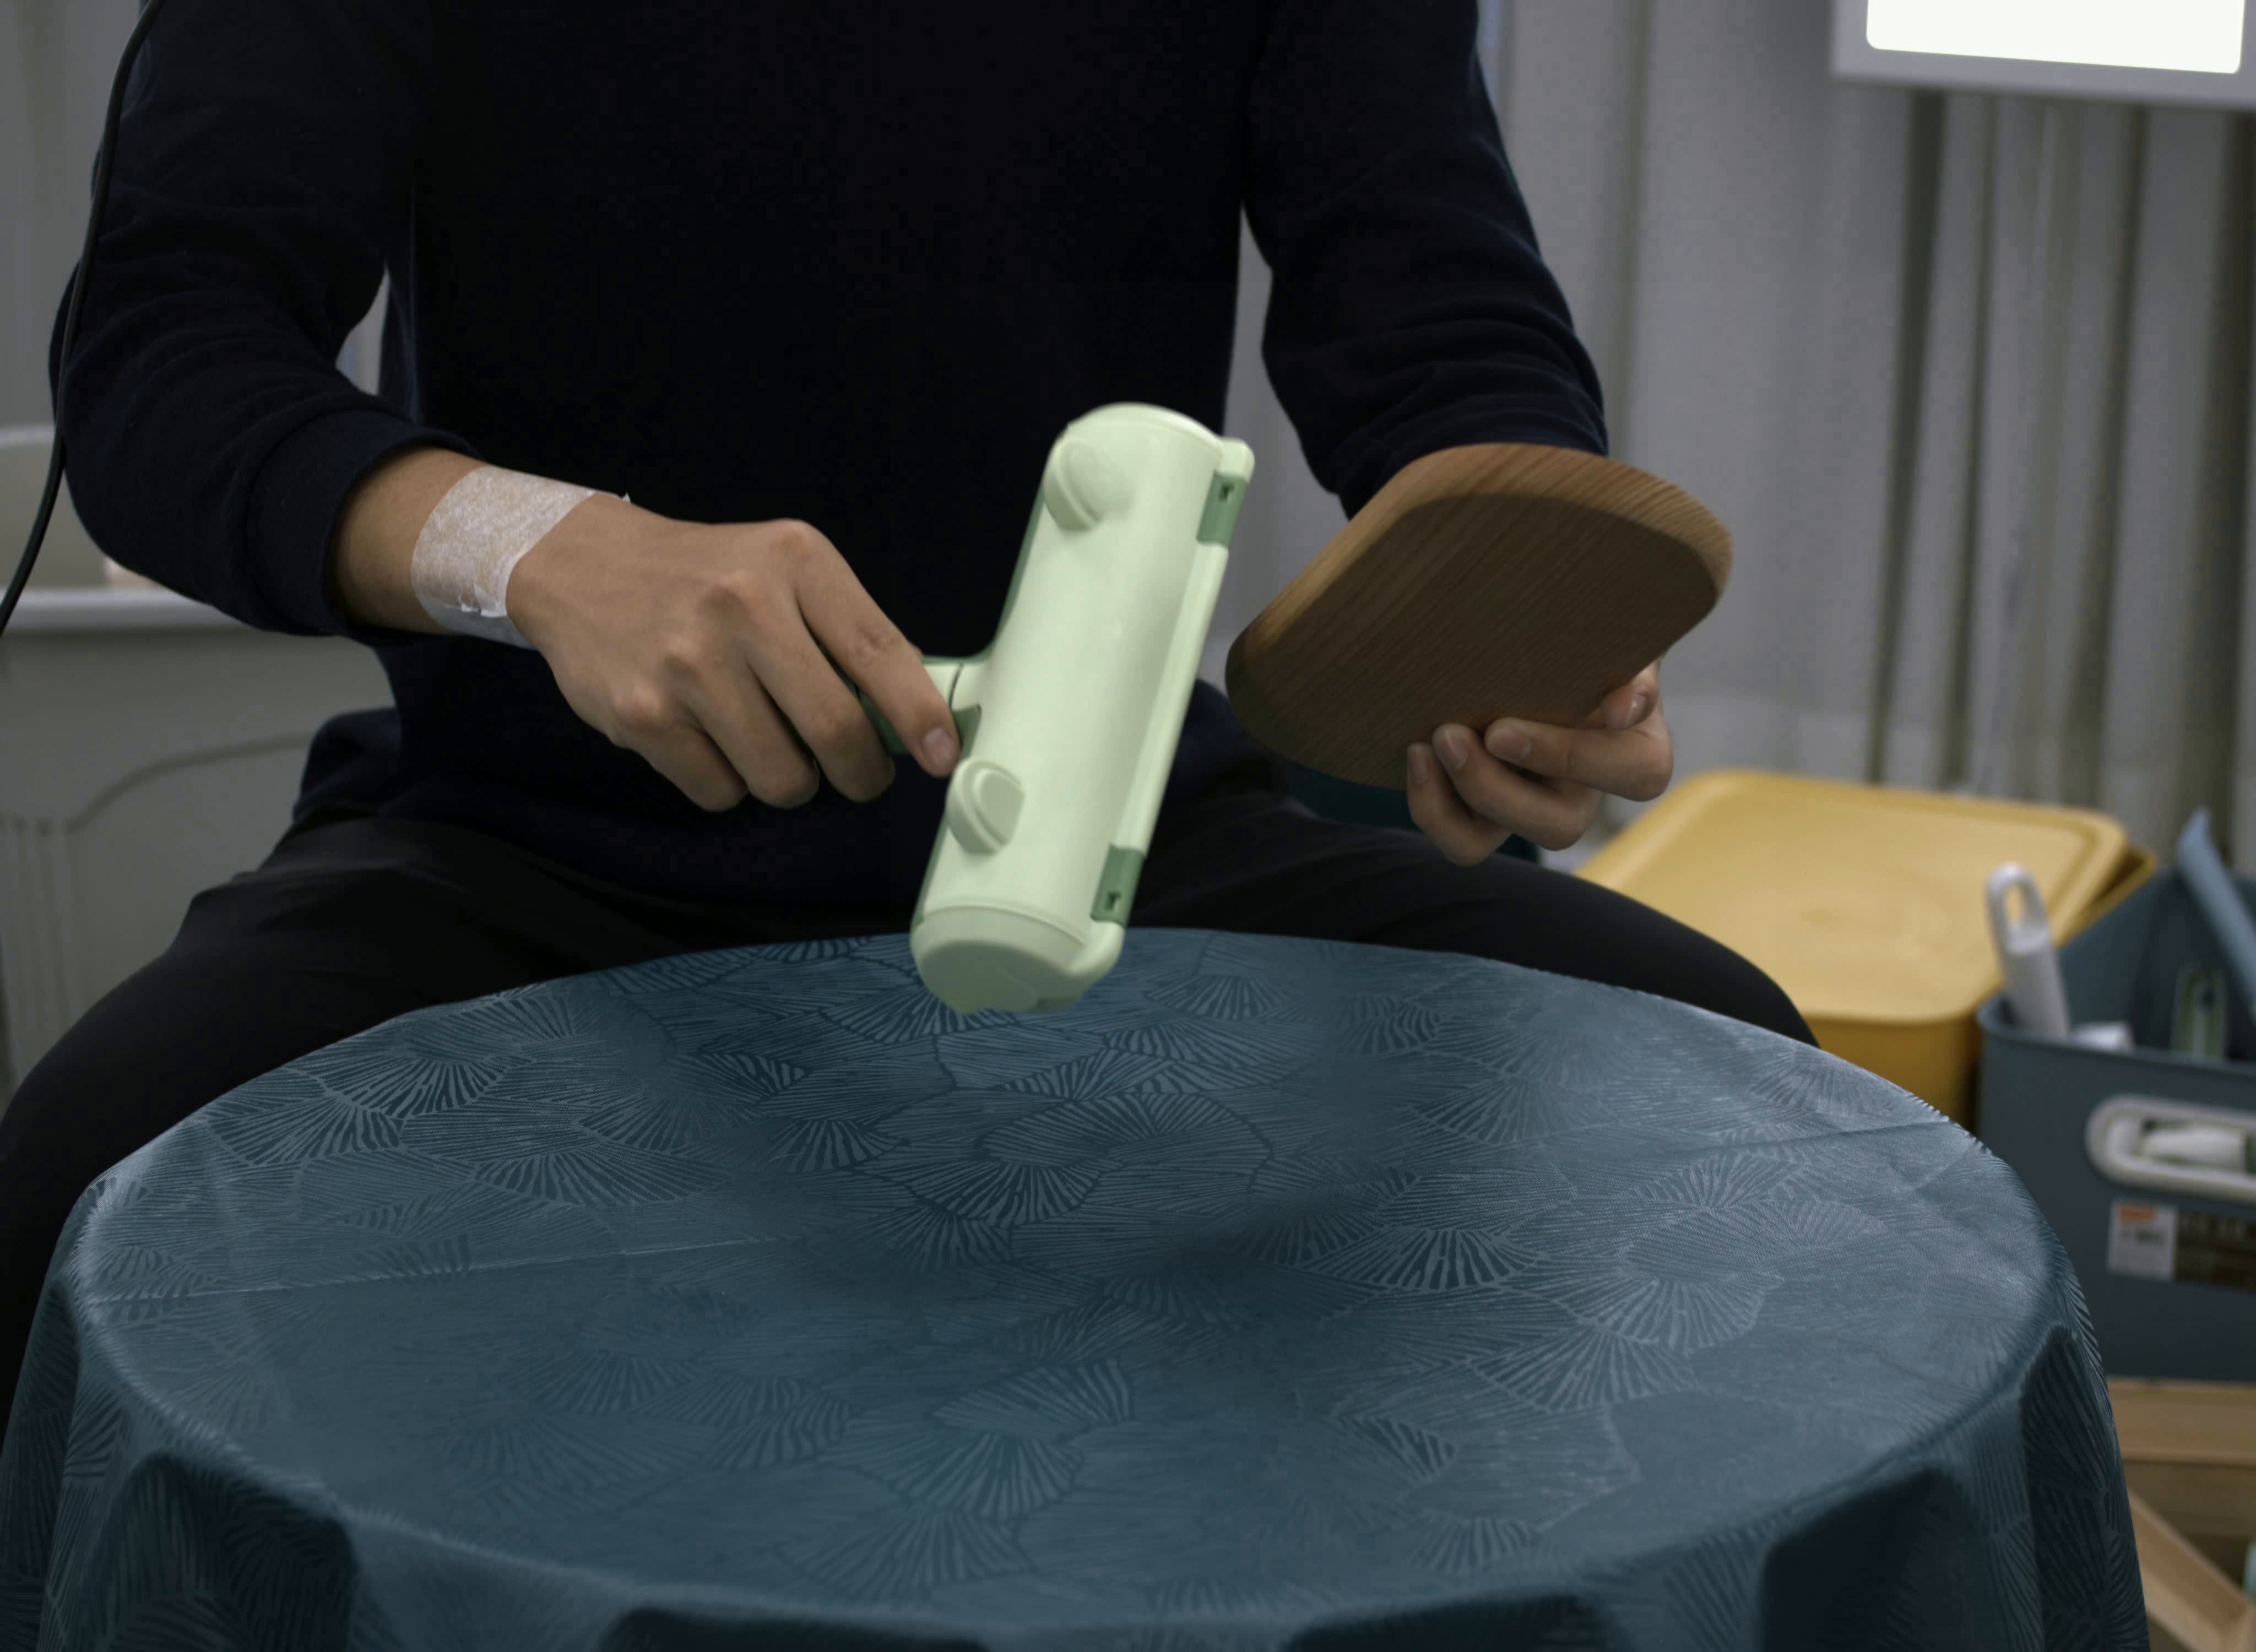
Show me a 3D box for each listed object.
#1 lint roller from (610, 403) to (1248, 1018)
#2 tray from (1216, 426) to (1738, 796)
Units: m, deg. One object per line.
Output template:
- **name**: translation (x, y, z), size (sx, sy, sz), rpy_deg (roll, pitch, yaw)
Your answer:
- **lint roller**: translation (-0.071, -0.047, 1.561), size (0.182, 0.083, 0.197), rpy_deg (8, 58, 10)
- **tray**: translation (0.098, -0.059, 1.533), size (0.102, 0.020, 0.231), rpy_deg (20, -26, -13)
